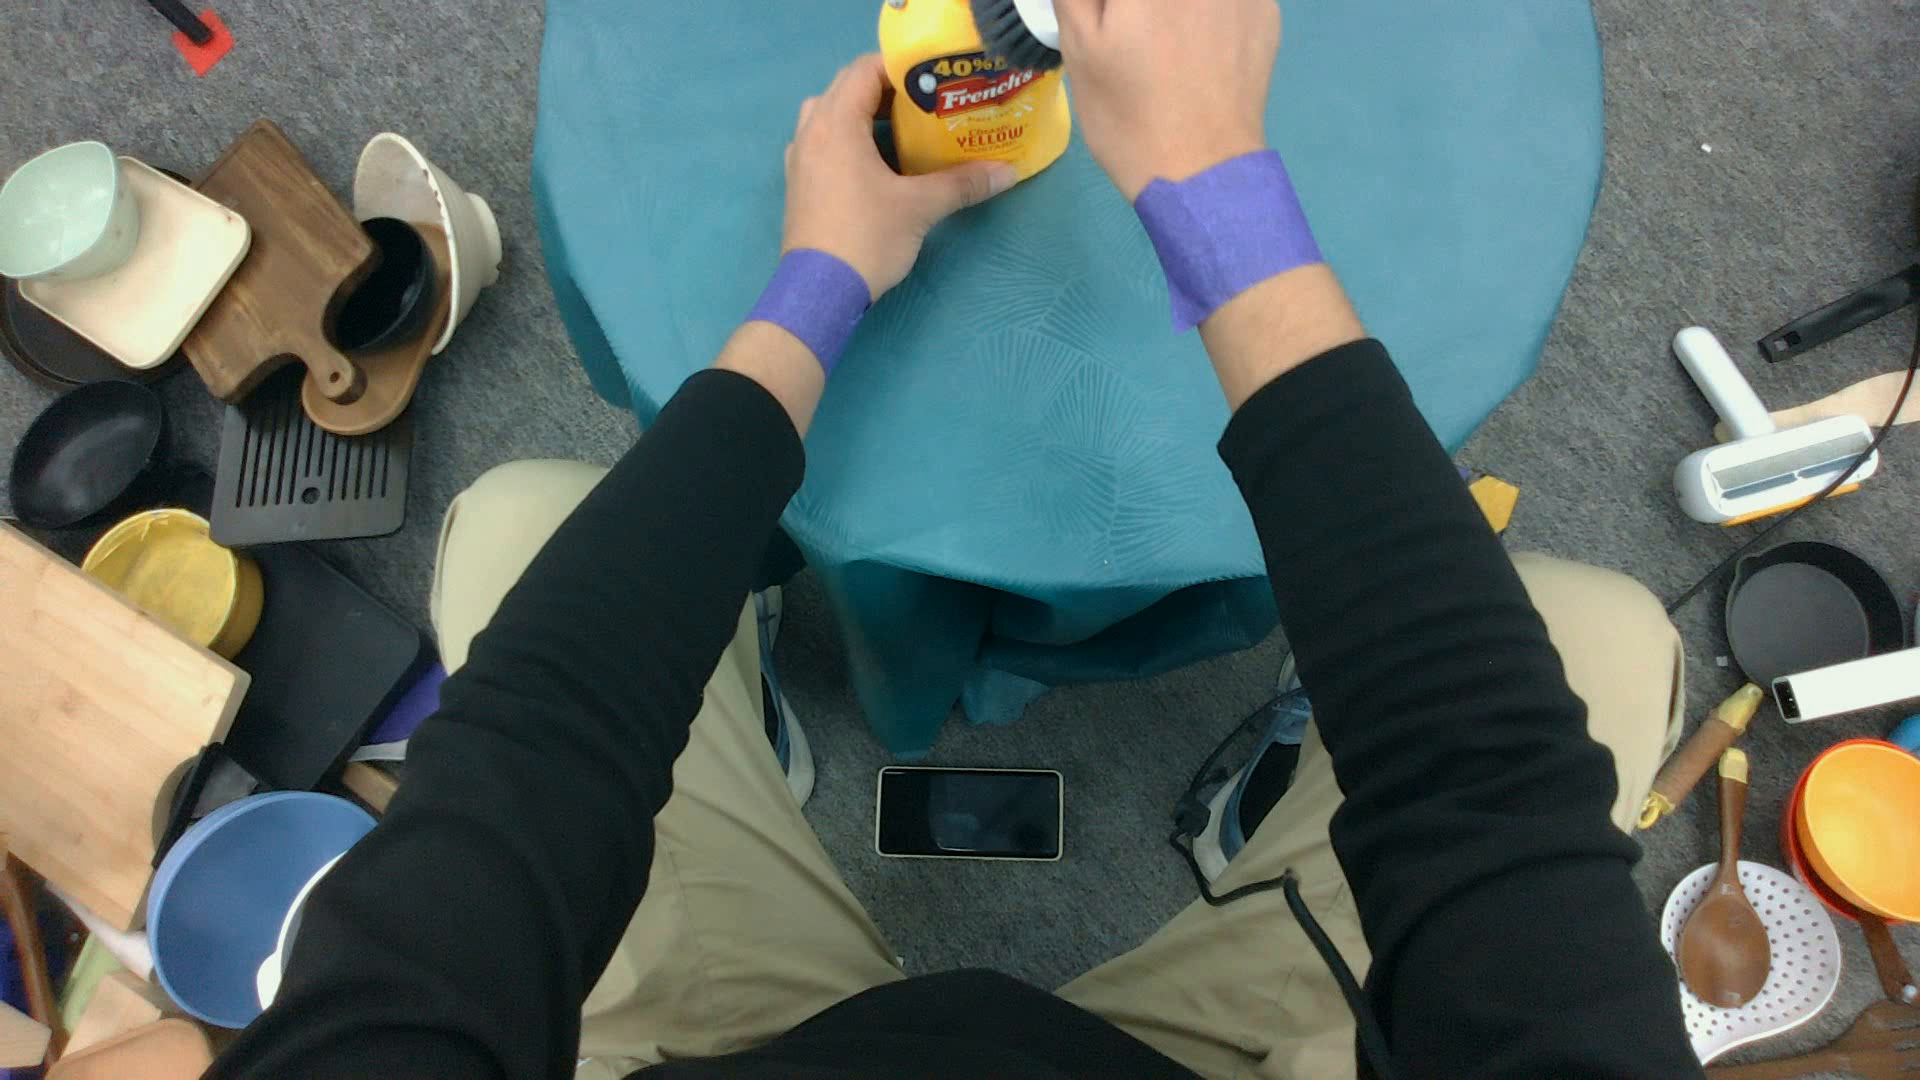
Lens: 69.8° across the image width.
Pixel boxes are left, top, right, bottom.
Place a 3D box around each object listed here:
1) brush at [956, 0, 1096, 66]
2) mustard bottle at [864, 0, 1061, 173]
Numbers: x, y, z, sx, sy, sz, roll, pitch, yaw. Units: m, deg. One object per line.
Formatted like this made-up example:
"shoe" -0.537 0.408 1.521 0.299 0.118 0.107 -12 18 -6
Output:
"brush" 0.031 -0.259 0.572 0.050 0.072 0.099 -11 89 -31
"mustard bottle" 0.003 -0.245 0.688 0.098 0.171 0.059 -15 82 -3
